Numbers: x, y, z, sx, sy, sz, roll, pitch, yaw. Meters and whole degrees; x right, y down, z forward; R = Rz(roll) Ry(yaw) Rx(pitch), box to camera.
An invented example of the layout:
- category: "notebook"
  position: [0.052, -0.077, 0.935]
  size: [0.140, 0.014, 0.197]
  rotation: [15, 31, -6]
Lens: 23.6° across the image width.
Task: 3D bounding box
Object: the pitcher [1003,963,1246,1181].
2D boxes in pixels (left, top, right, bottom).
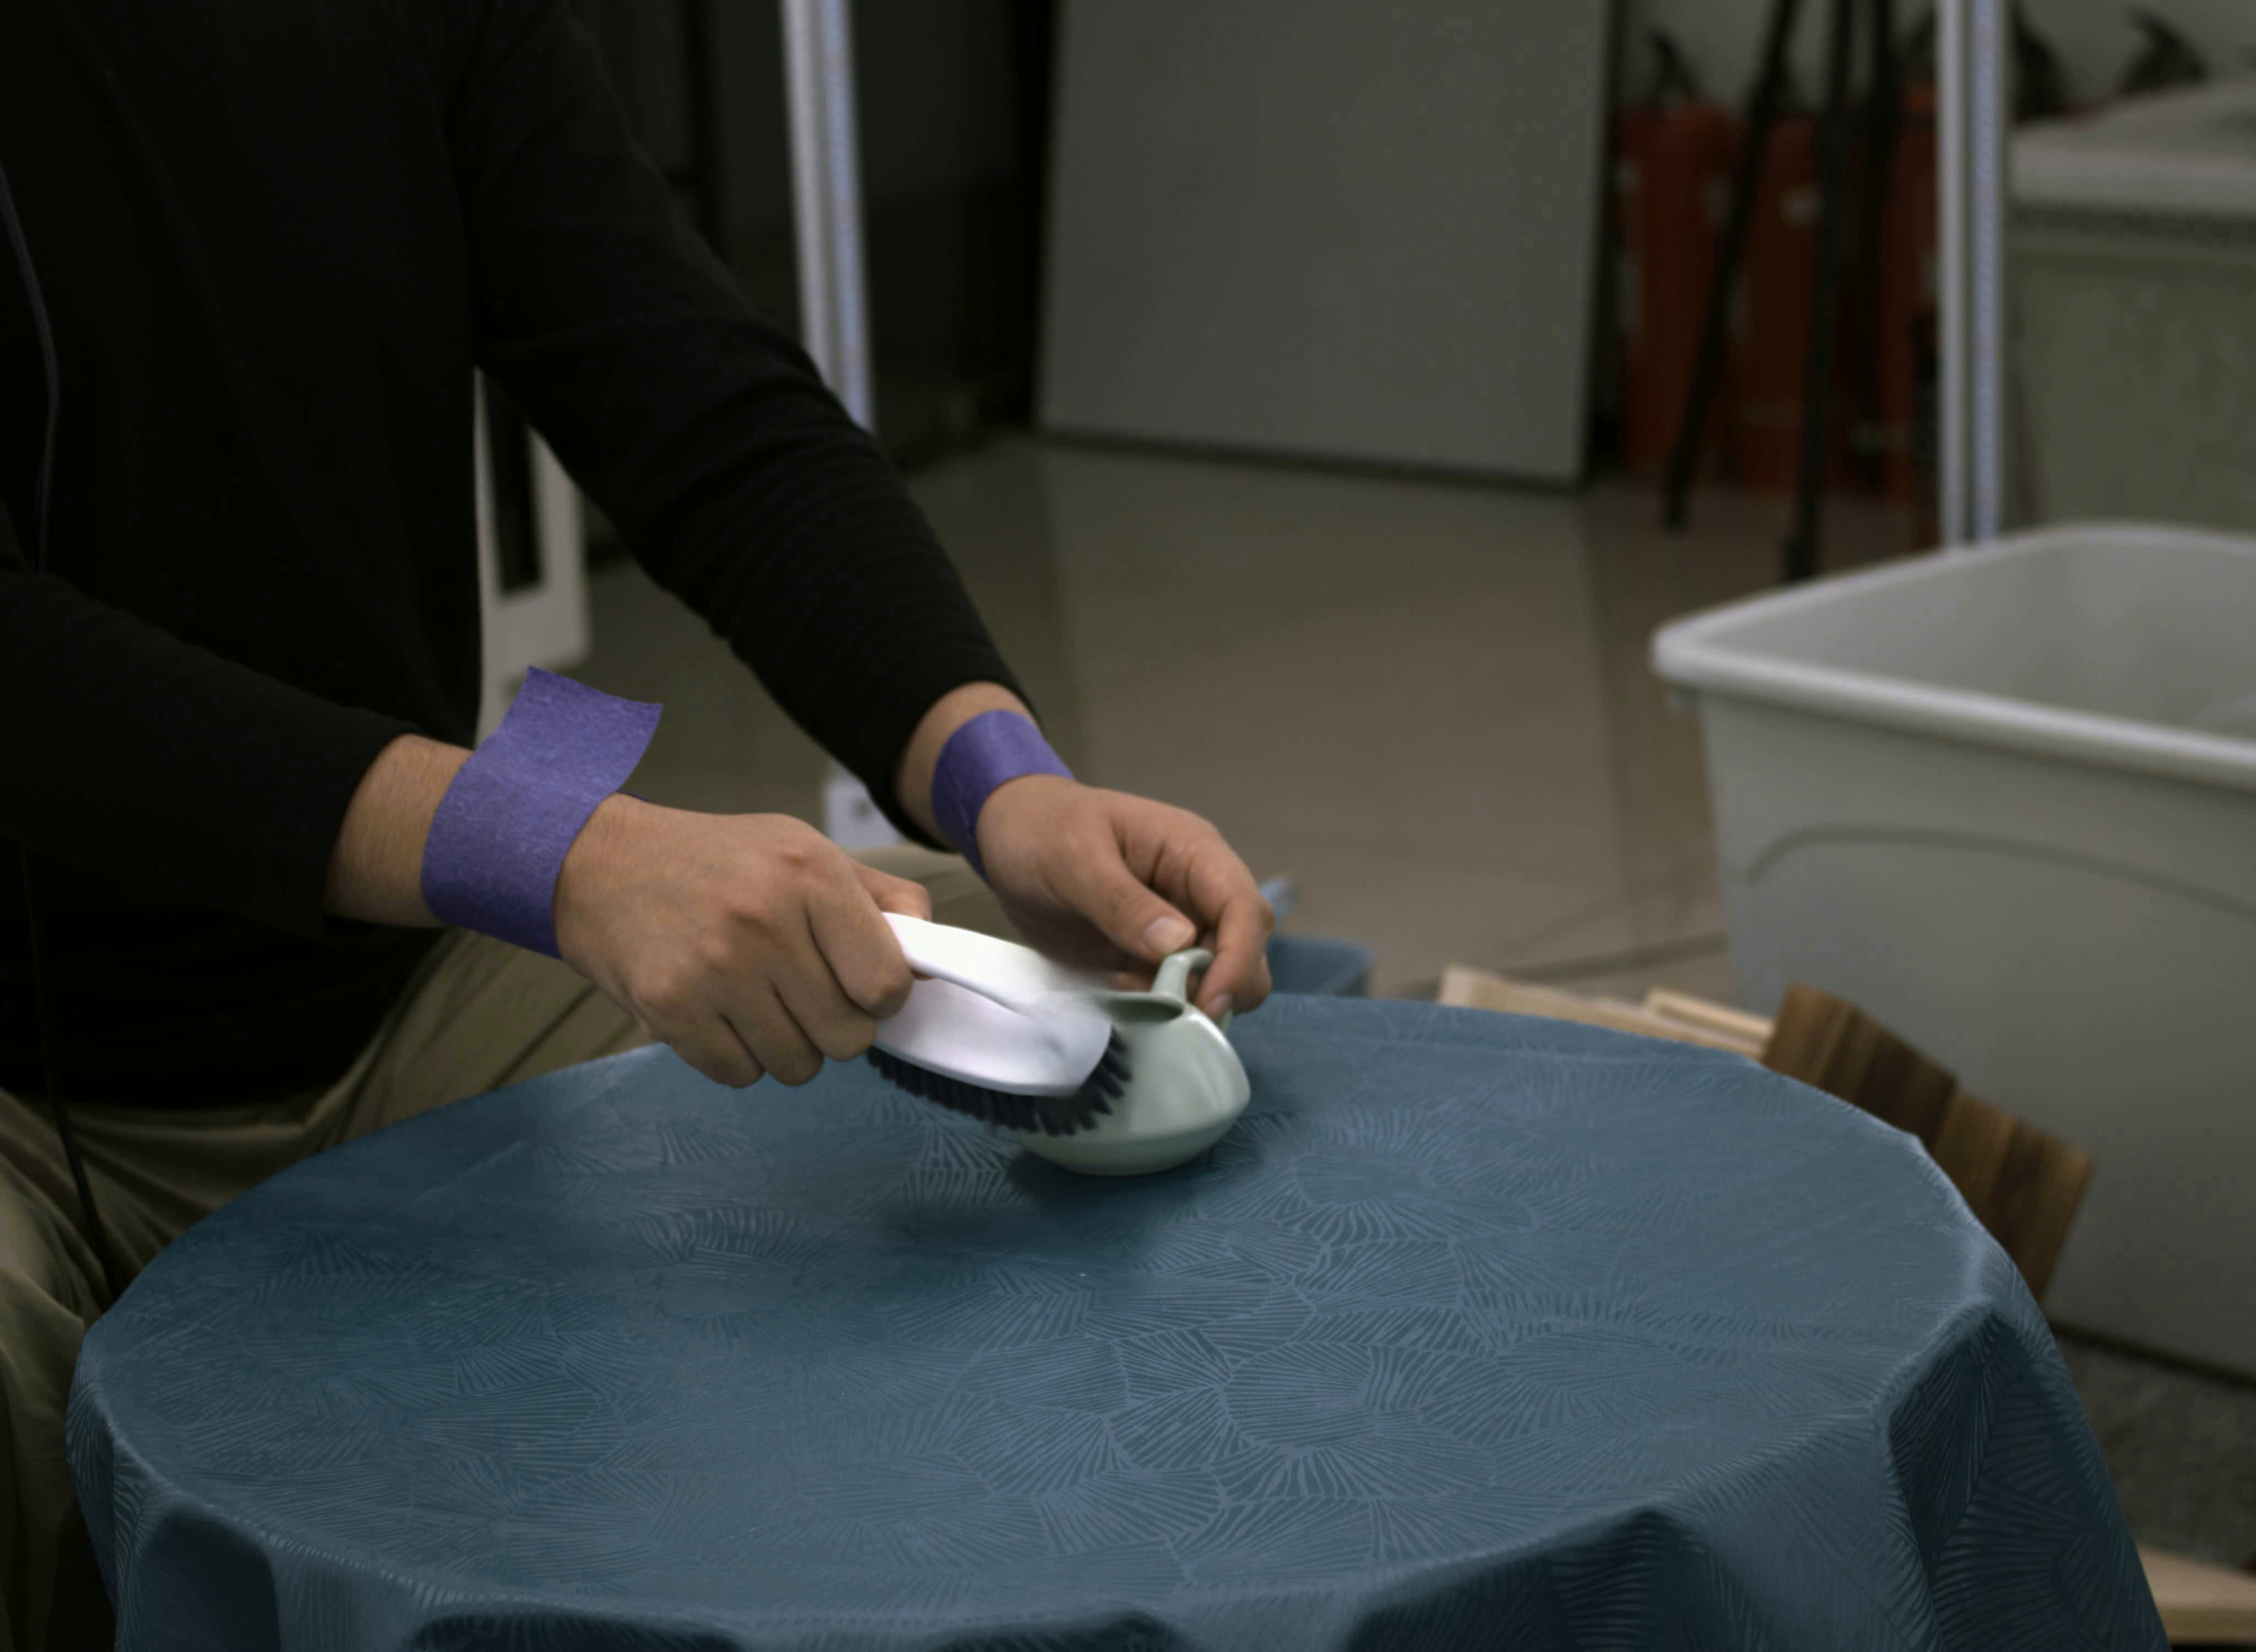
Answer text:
- category: "pitcher"
  position: [0.003, 0.083, 1.811]
  size: [0.086, 0.061, 0.106]
  rotation: [6, 12, 30]

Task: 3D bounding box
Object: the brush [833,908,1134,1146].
- category: "brush"
  position: [-0.051, 0.057, 1.741]
  size: [0.100, 0.072, 0.050]
  rotation: [20, 66, 28]
